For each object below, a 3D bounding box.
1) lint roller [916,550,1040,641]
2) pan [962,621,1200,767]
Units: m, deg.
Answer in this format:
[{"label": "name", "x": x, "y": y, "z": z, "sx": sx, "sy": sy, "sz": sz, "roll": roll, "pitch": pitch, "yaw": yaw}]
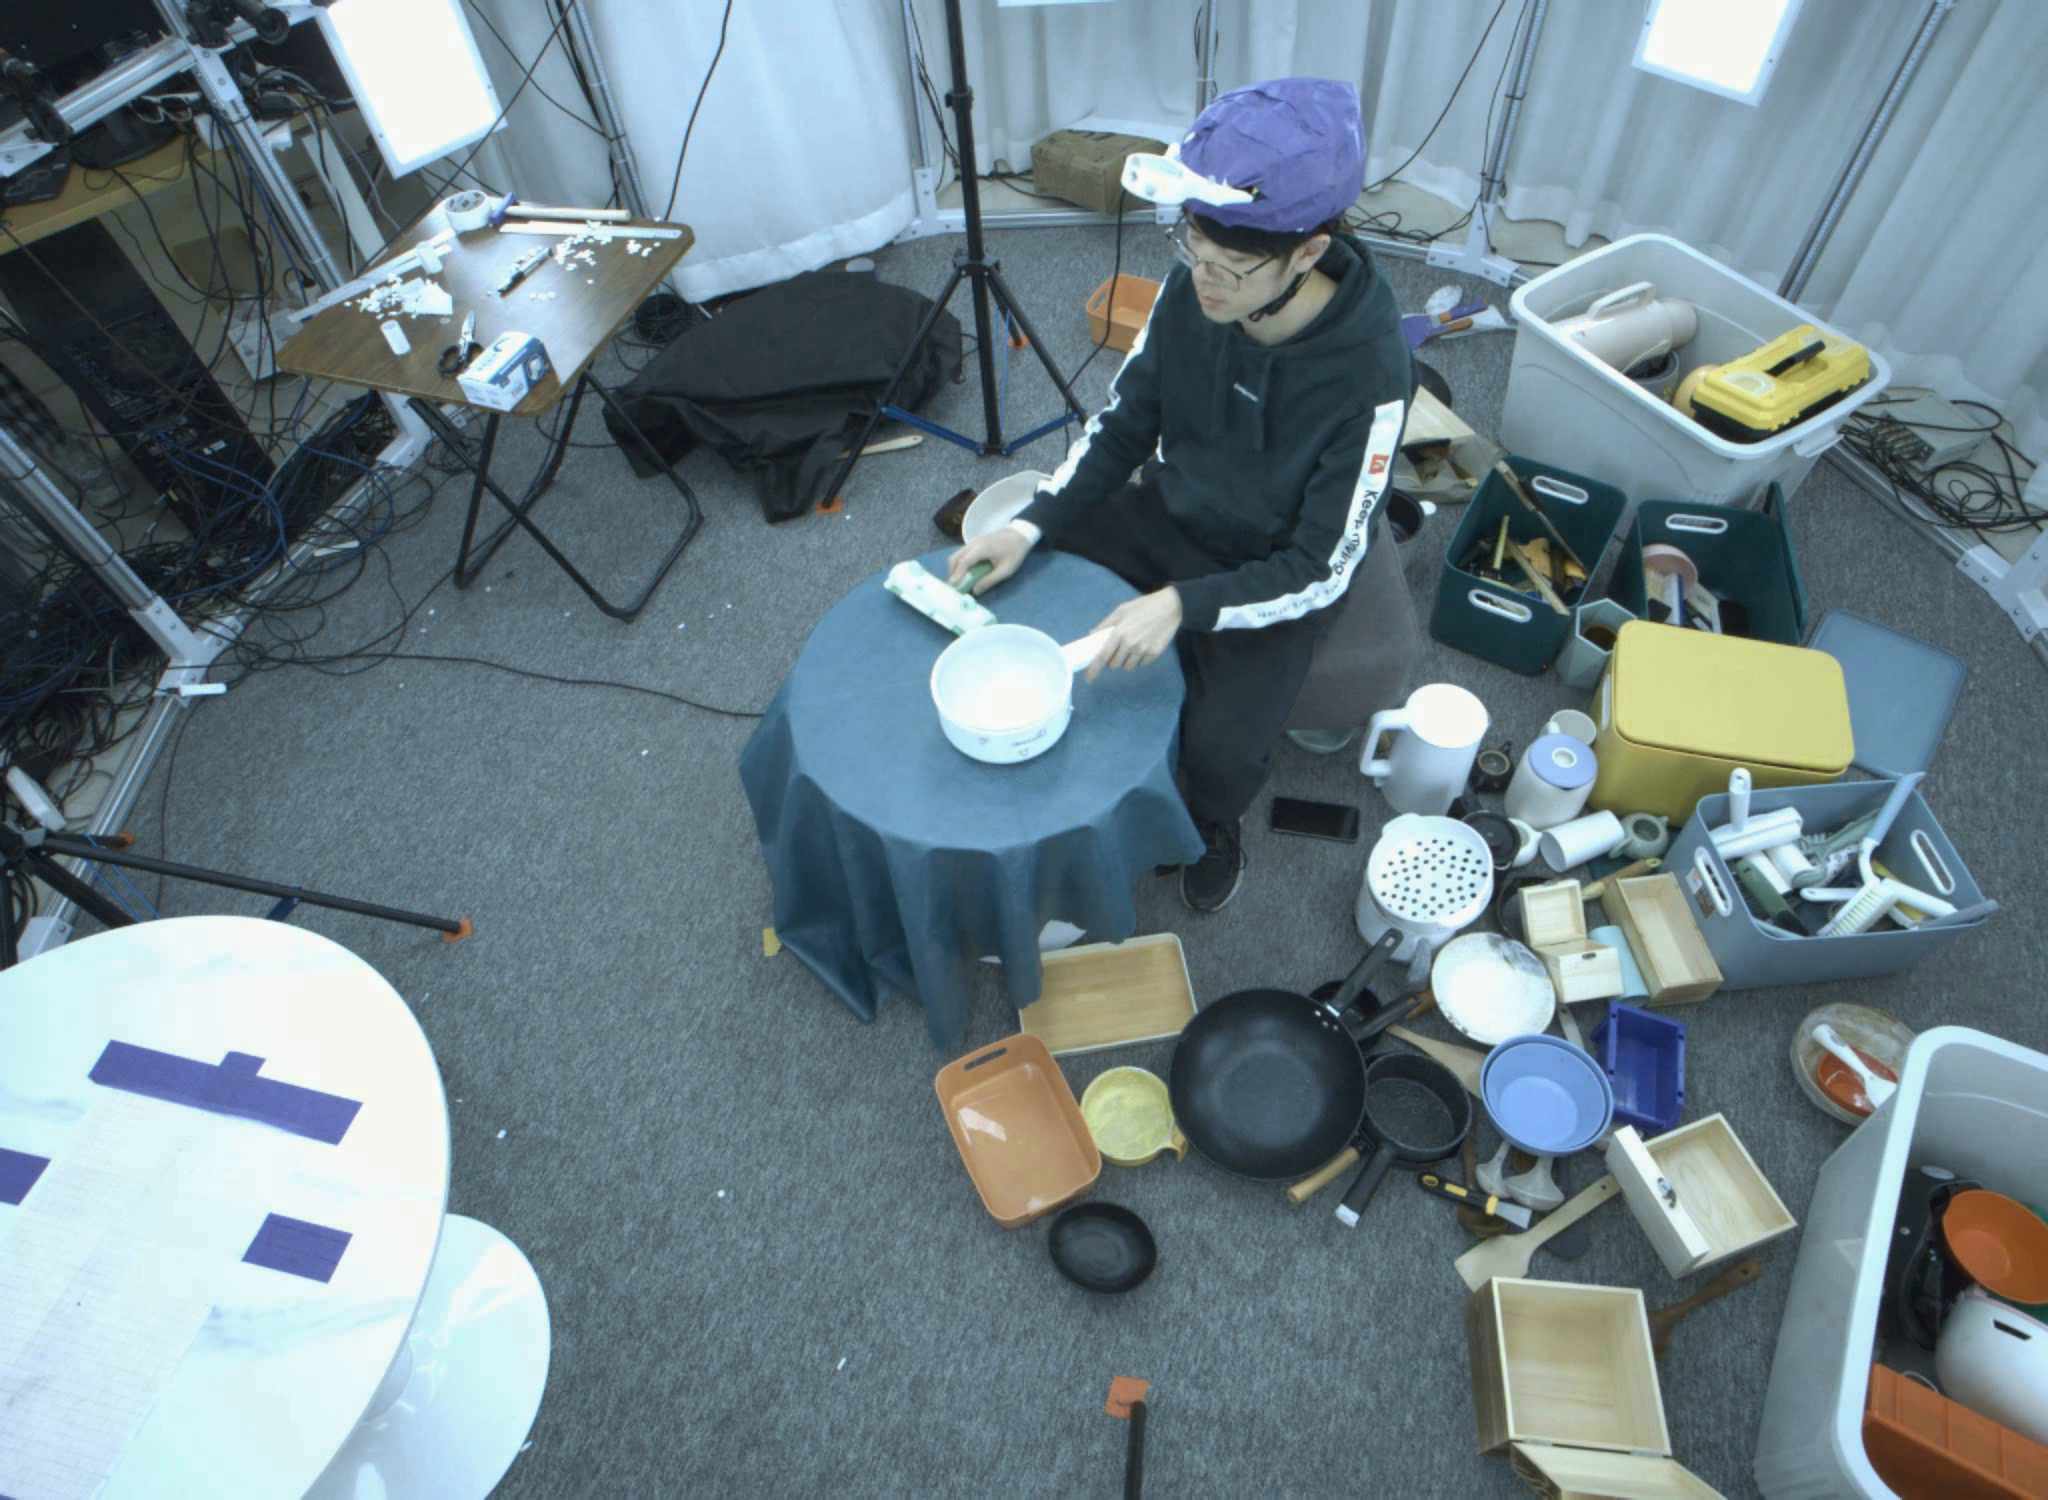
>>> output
[{"label": "lint roller", "x": -0.044, "y": -0.273, "z": 1.928, "sx": 0.195, "sy": 0.083, "sz": 0.184, "roll": 36, "pitch": 71, "yaw": 25}, {"label": "pan", "x": 0.086, "y": -0.096, "z": 1.787, "sx": 0.357, "sy": 0.103, "sz": 0.197, "roll": -19, "pitch": 55, "yaw": -12}]
